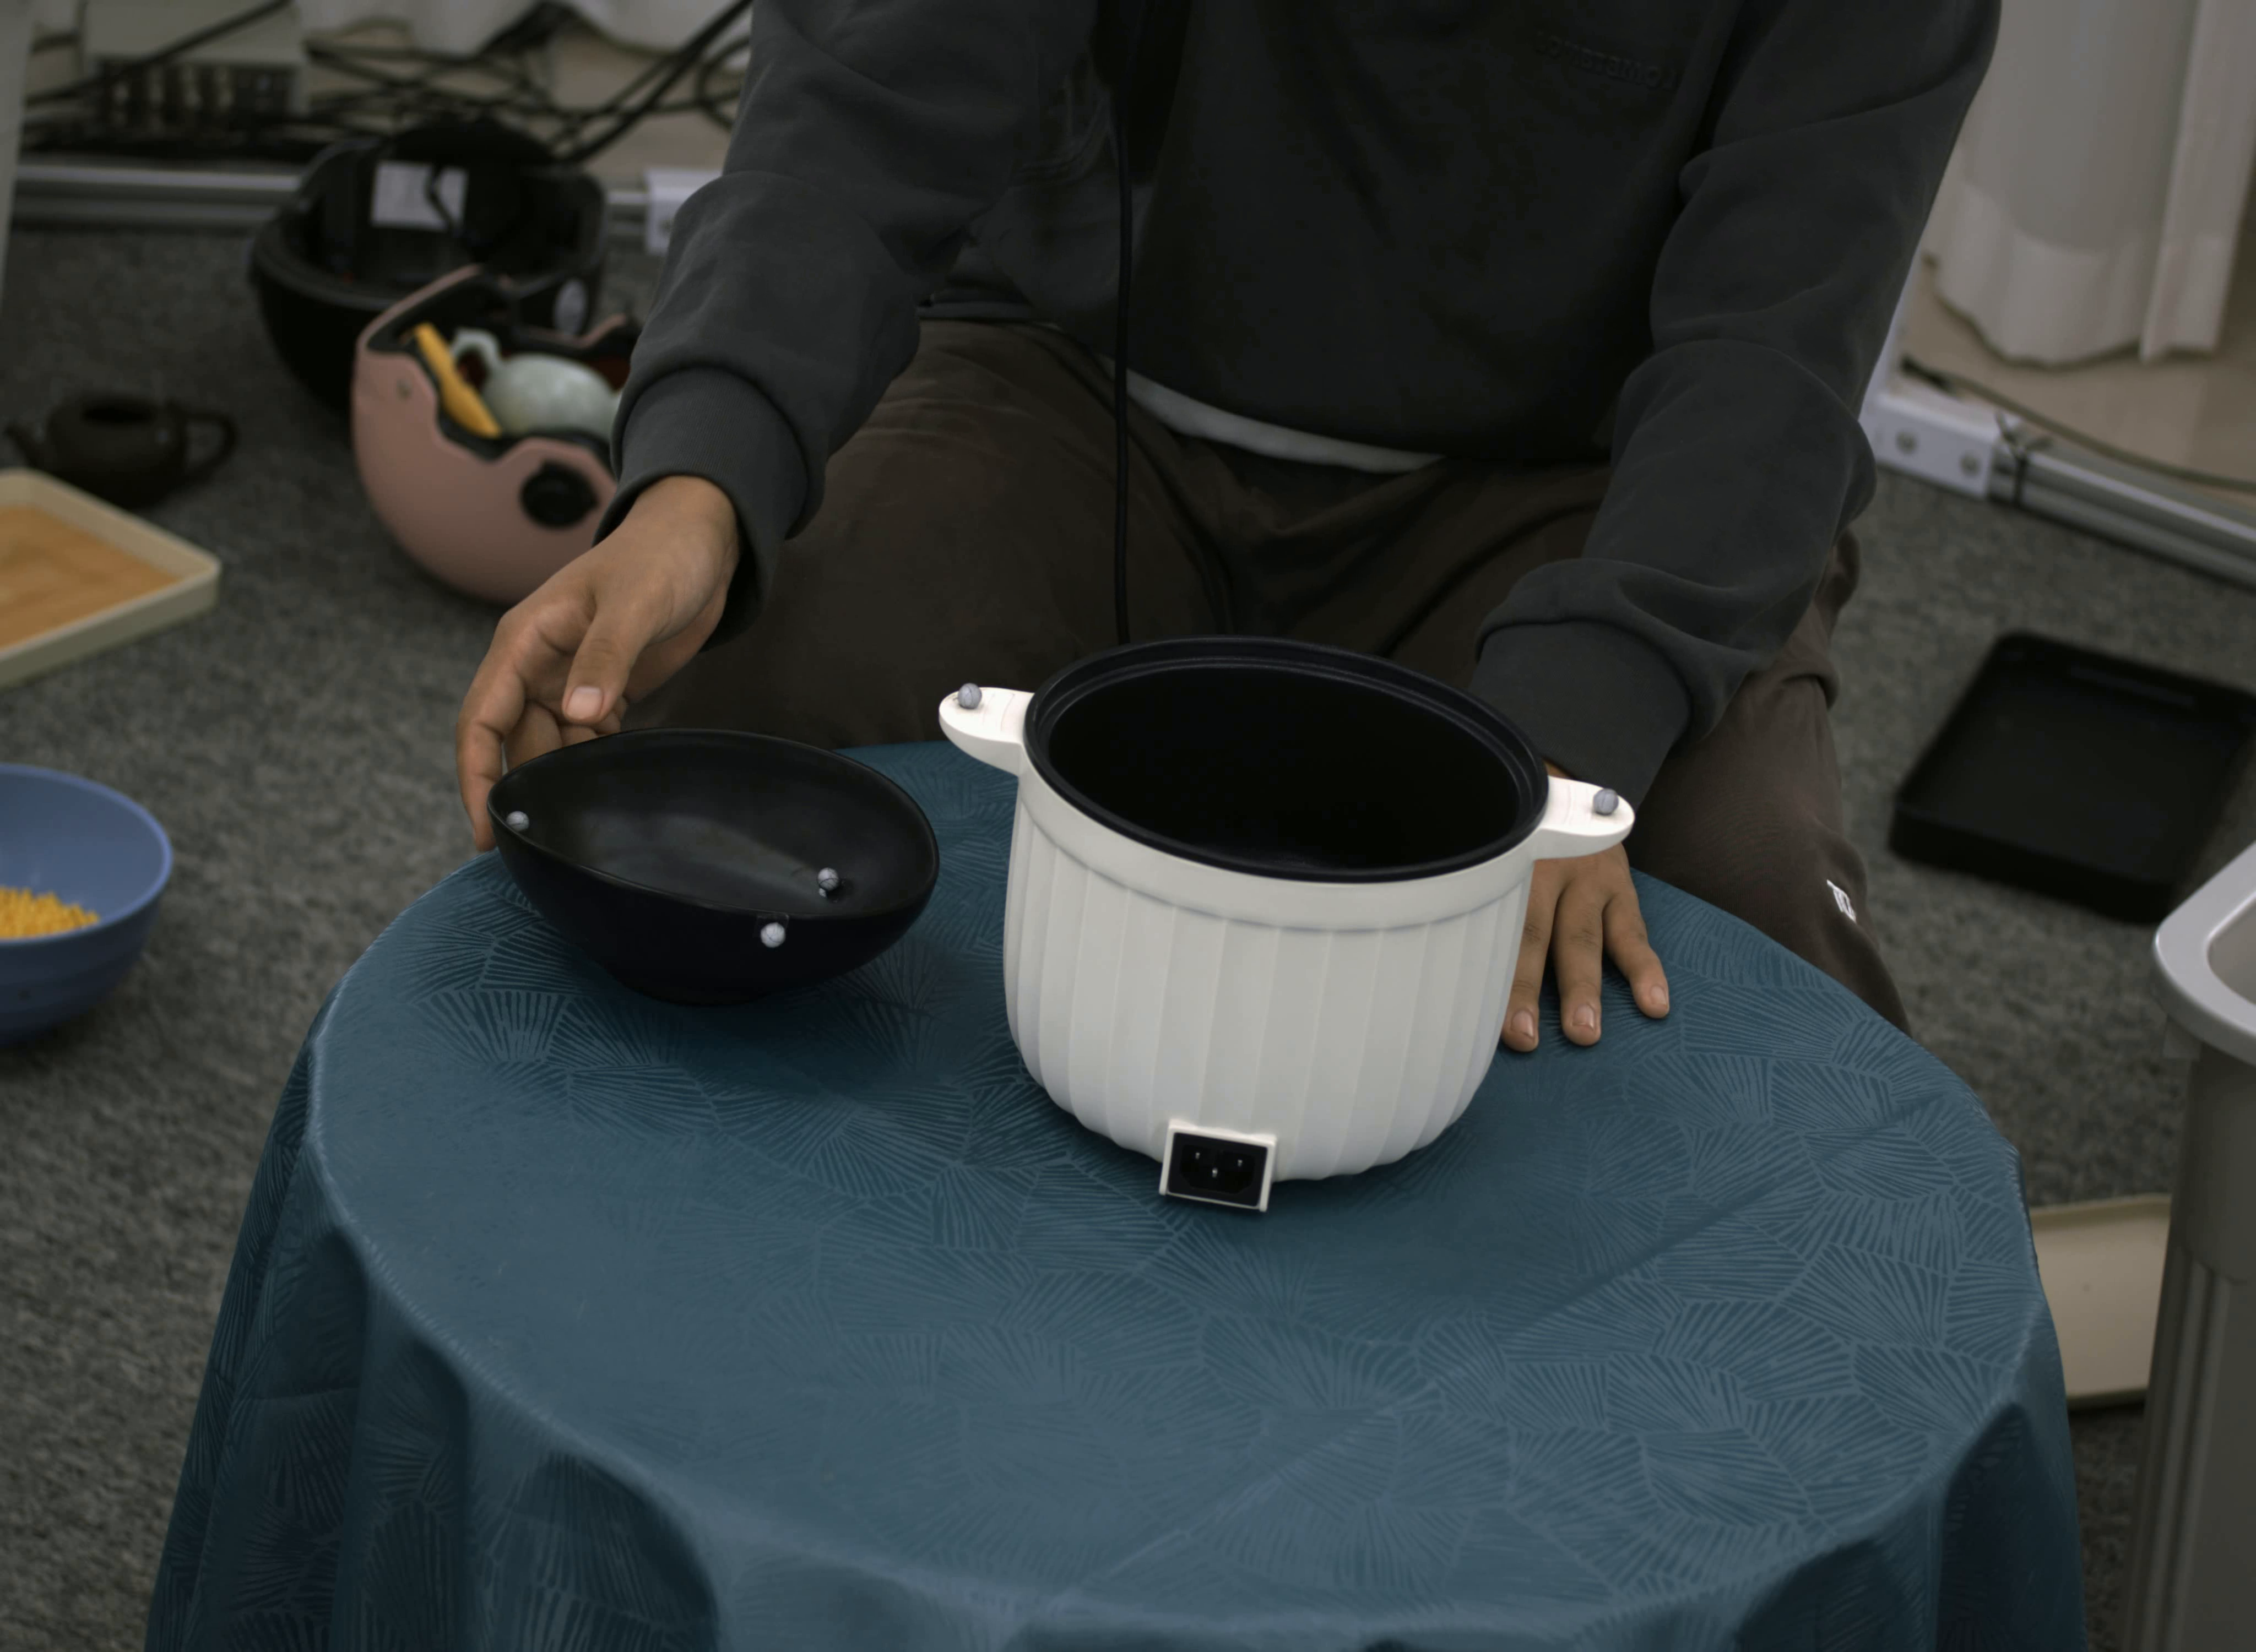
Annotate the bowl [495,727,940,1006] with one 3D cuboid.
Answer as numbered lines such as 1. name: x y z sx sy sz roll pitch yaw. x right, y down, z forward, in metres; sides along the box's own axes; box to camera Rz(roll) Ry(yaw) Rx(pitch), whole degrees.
1. bowl: -0.150 0.022 1.901 0.171 0.066 0.137 17 28 22

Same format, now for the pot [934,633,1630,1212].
1. pot: 0.045 0.030 1.849 0.240 0.142 0.191 10 30 3
